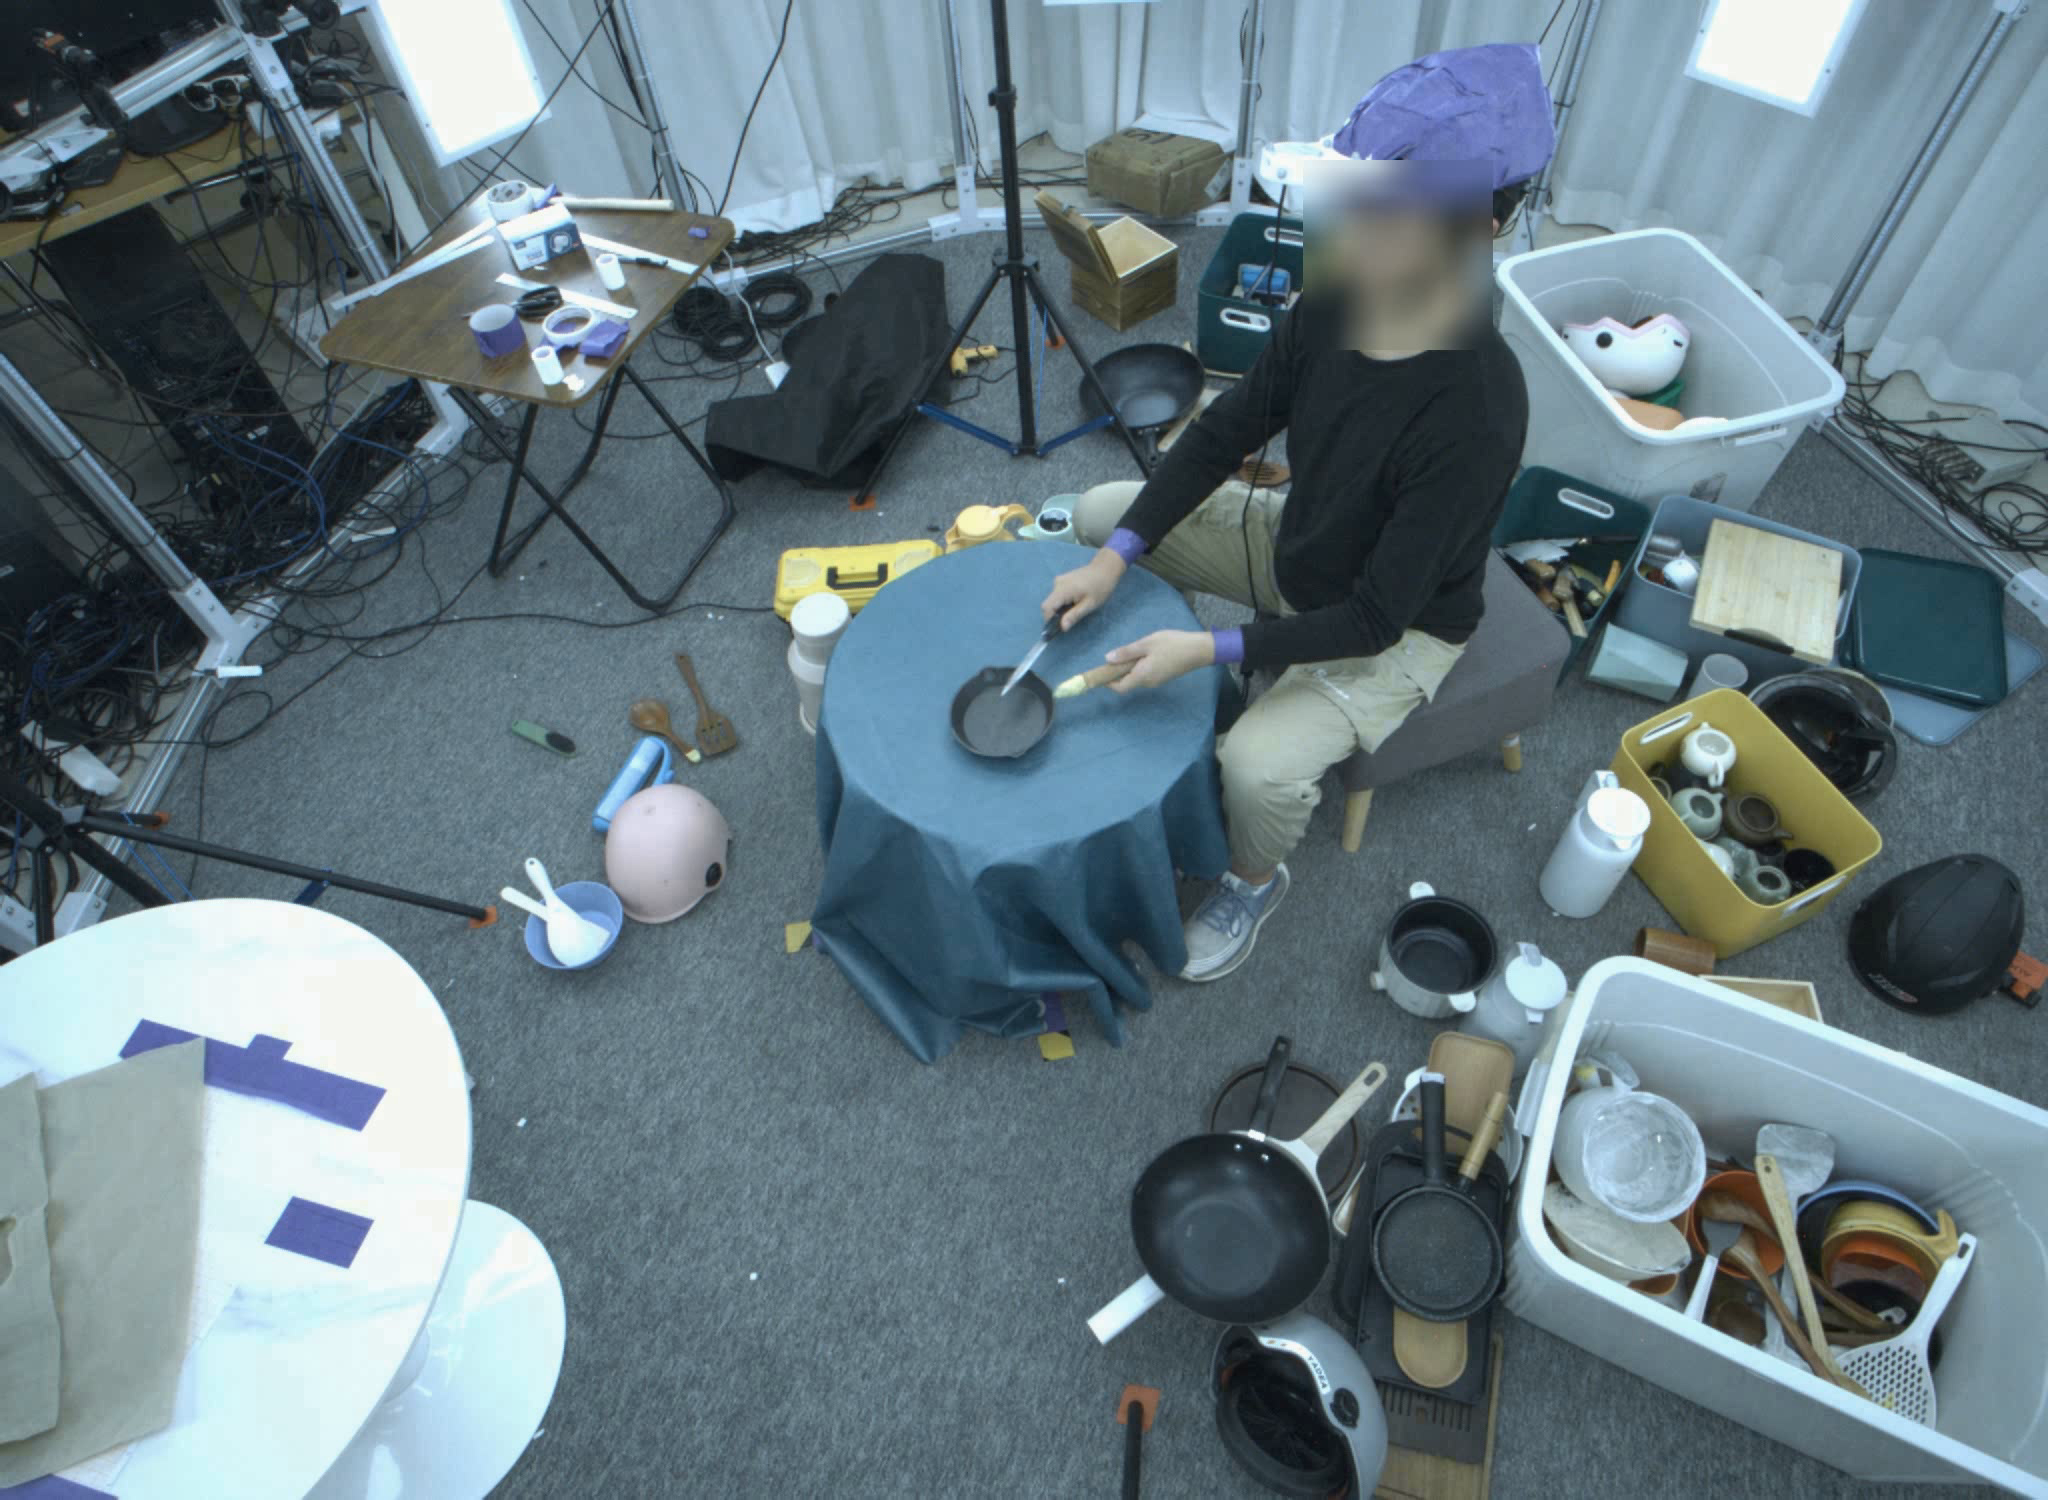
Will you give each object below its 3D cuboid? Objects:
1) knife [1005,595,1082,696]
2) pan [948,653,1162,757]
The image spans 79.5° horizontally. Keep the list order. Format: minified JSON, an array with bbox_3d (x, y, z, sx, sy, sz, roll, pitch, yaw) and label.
[{"bbox_3d":[0.026,-0.157,1.831,0.024,0.016,0.239,3,44,36],"label":"knife"},{"bbox_3d":[0.048,-0.080,1.792,0.325,0.050,0.166,-17,58,-4],"label":"pan"}]
